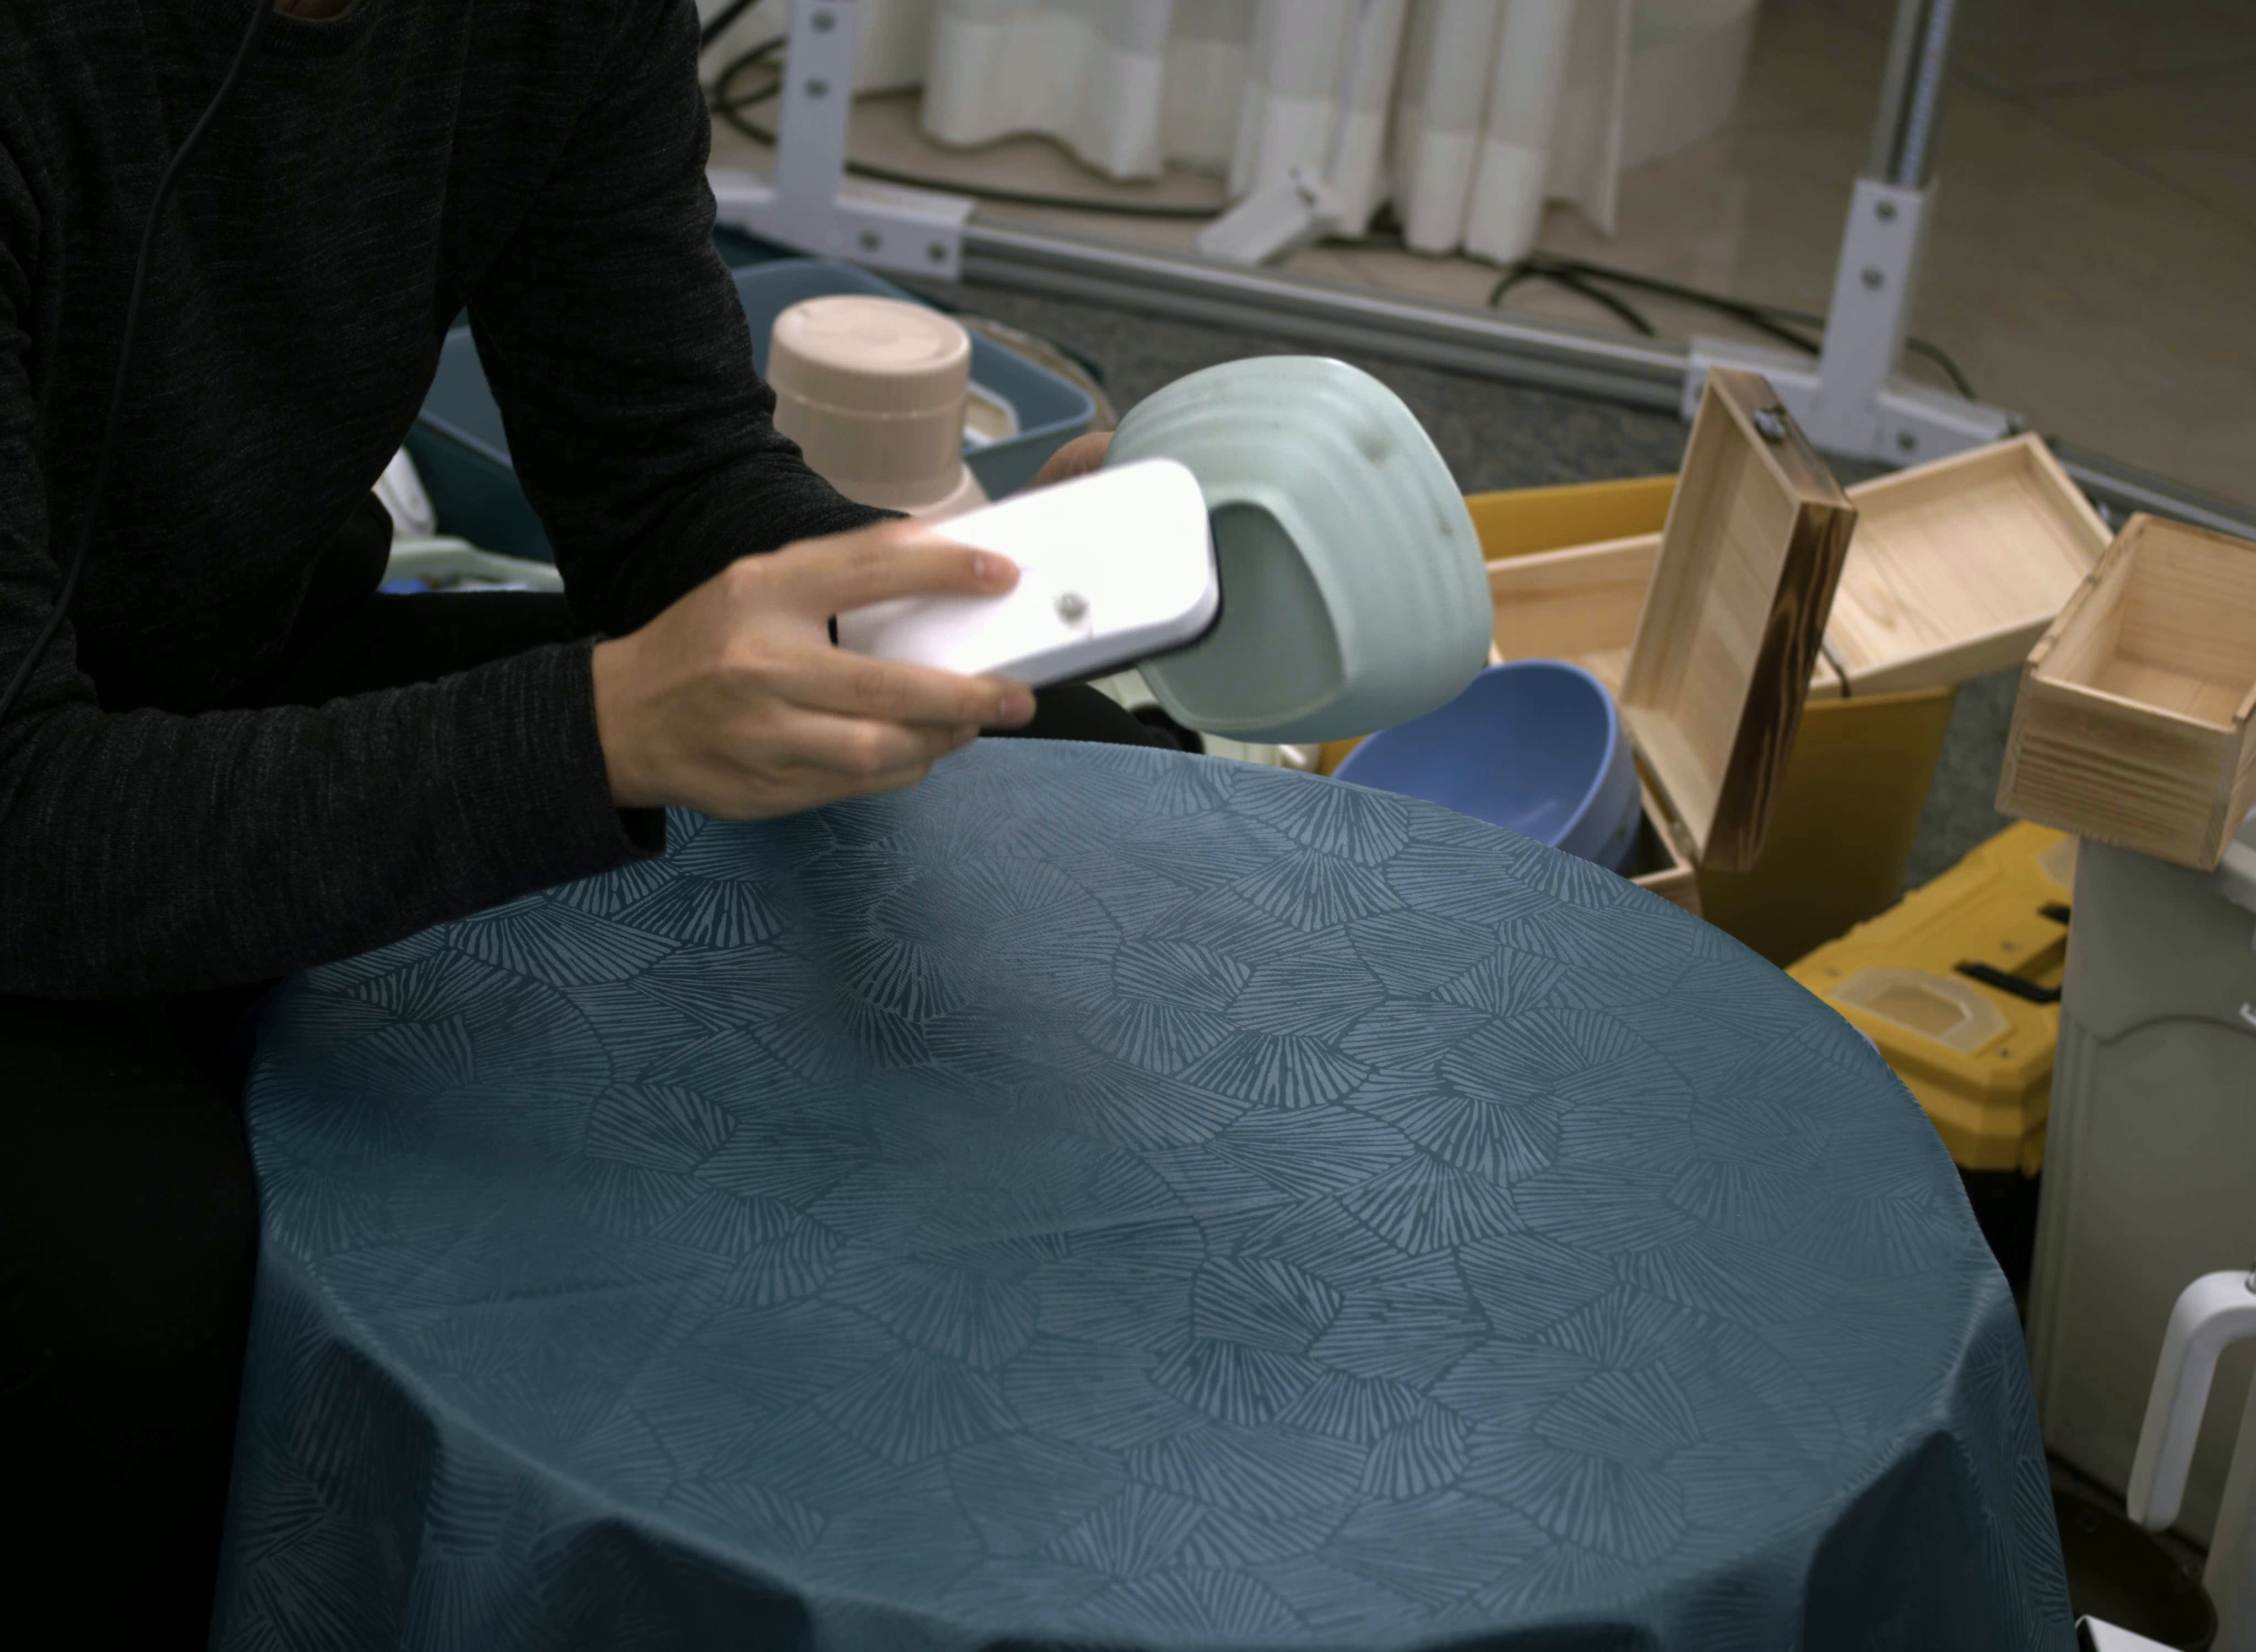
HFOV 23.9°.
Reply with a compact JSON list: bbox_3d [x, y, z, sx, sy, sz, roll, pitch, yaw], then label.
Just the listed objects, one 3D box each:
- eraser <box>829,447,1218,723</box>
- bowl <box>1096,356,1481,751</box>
[{"bbox_3d":[-0.035,-0.078,1.711,0.131,0.034,0.064,-17,56,19],"label":"eraser"},{"bbox_3d":[0.041,-0.082,1.782,0.152,0.151,0.058,21,35,26],"label":"bowl"}]
